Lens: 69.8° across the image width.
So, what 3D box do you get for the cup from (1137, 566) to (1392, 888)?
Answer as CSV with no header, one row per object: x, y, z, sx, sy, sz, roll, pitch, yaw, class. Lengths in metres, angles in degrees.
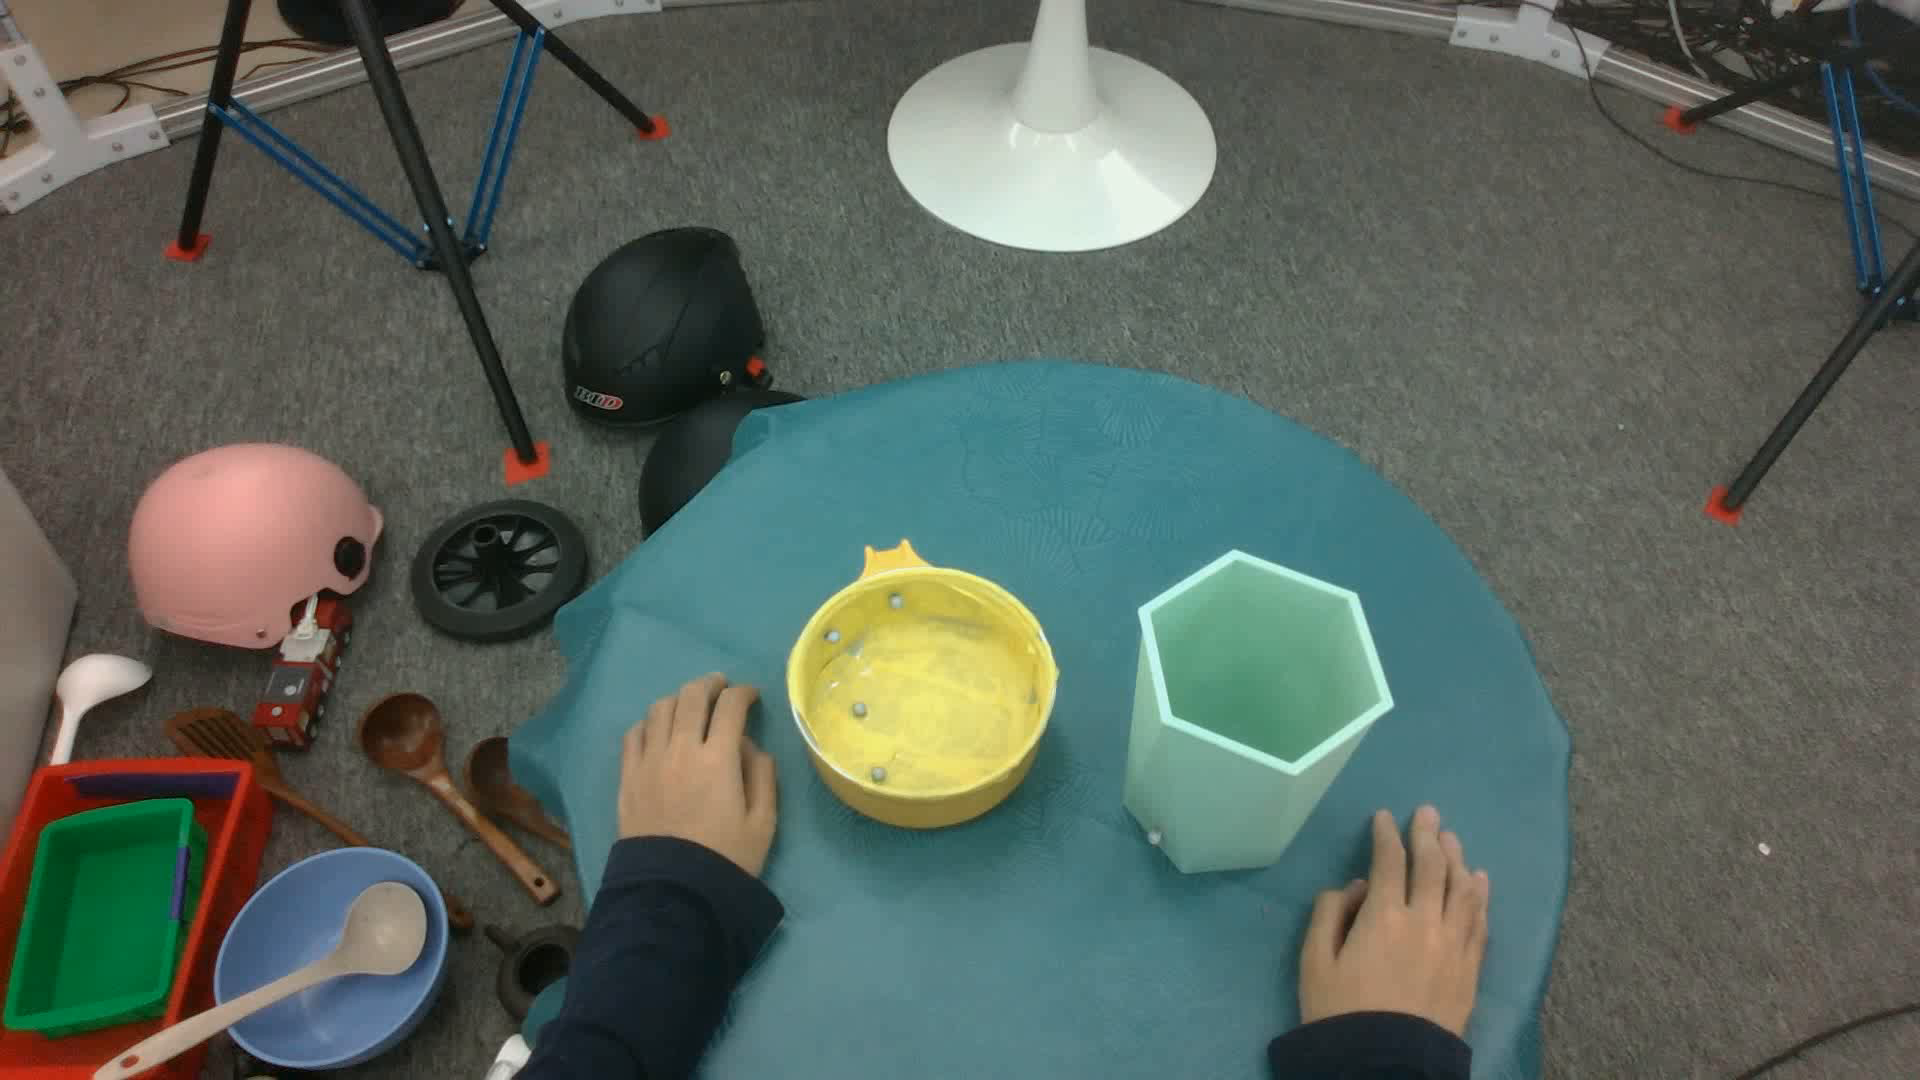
0.154,0.112,0.756,0.131,0.162,0.116,18,56,14,cup

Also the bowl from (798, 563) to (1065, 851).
-0.018,0.099,0.824,0.153,0.074,0.180,-15,55,-7,bowl
